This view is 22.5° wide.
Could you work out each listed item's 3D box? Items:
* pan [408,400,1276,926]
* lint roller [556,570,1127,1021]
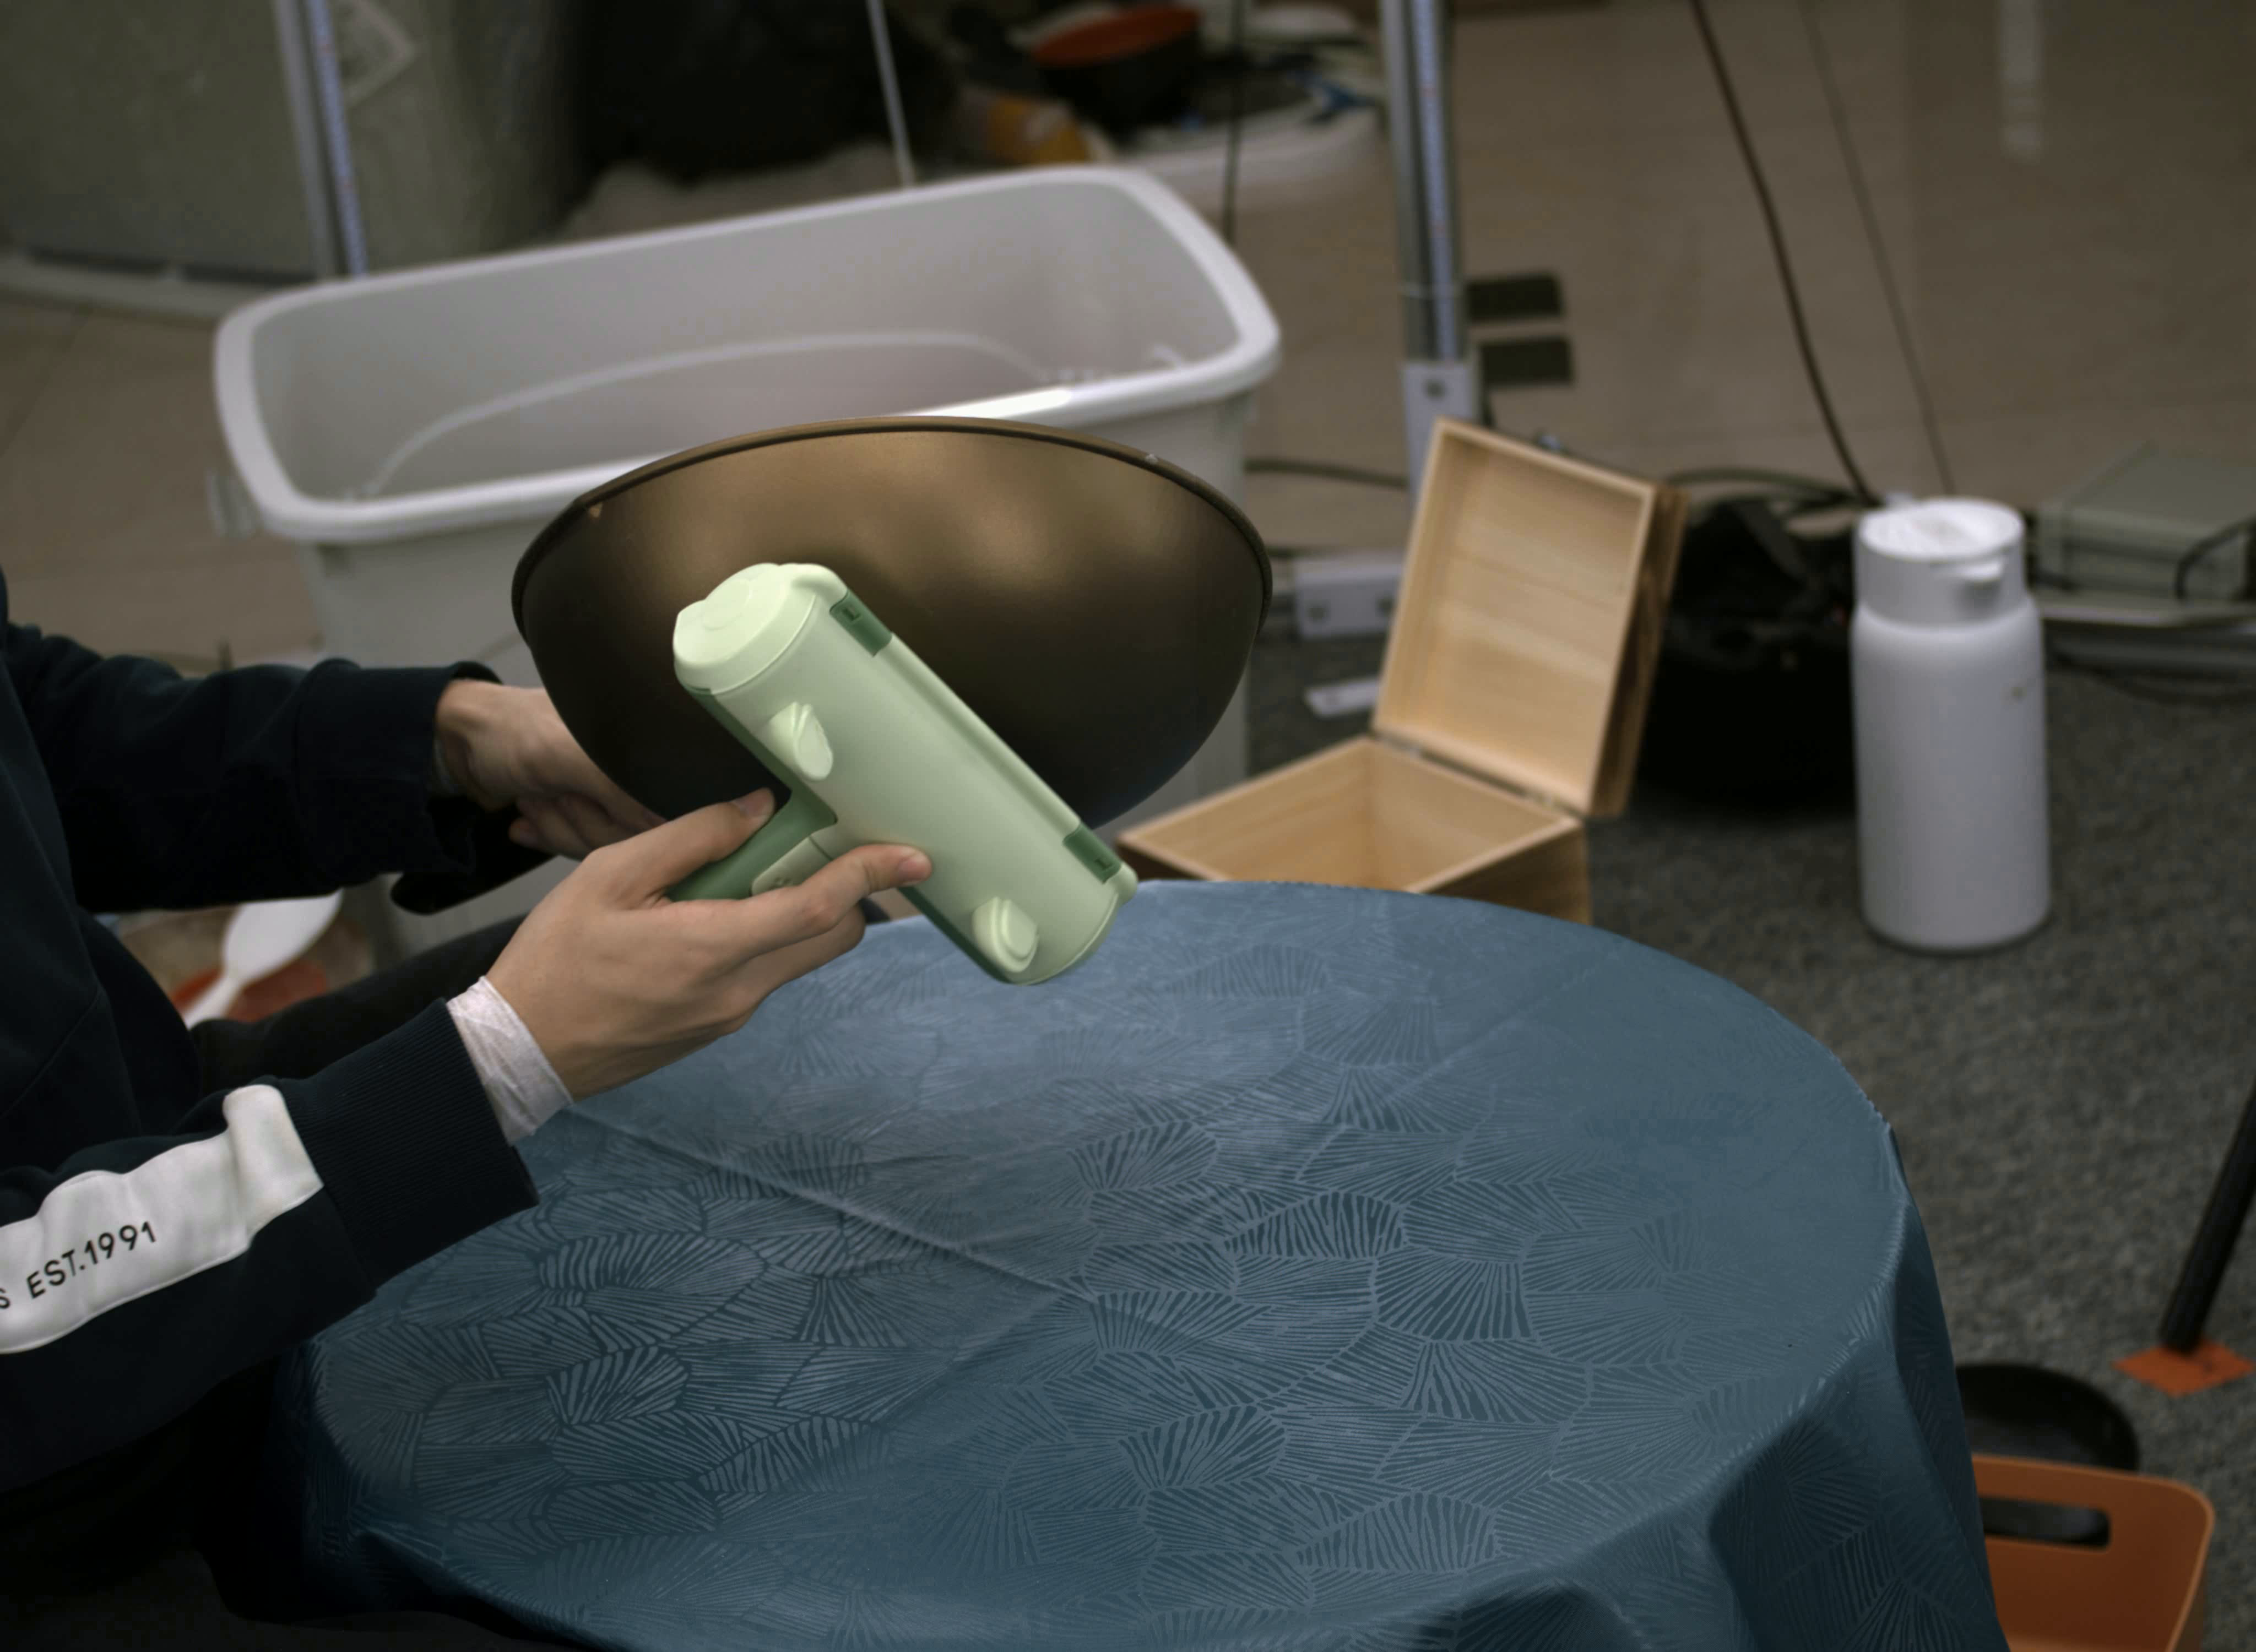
[{"bbox_3d":[-0.143,-0.020,2.127,0.289,0.086,0.467,17,-31,-37],"label":"pan"},{"bbox_3d":[-0.122,0.023,1.978,0.184,0.201,0.081,-39,38,8],"label":"lint roller"}]
